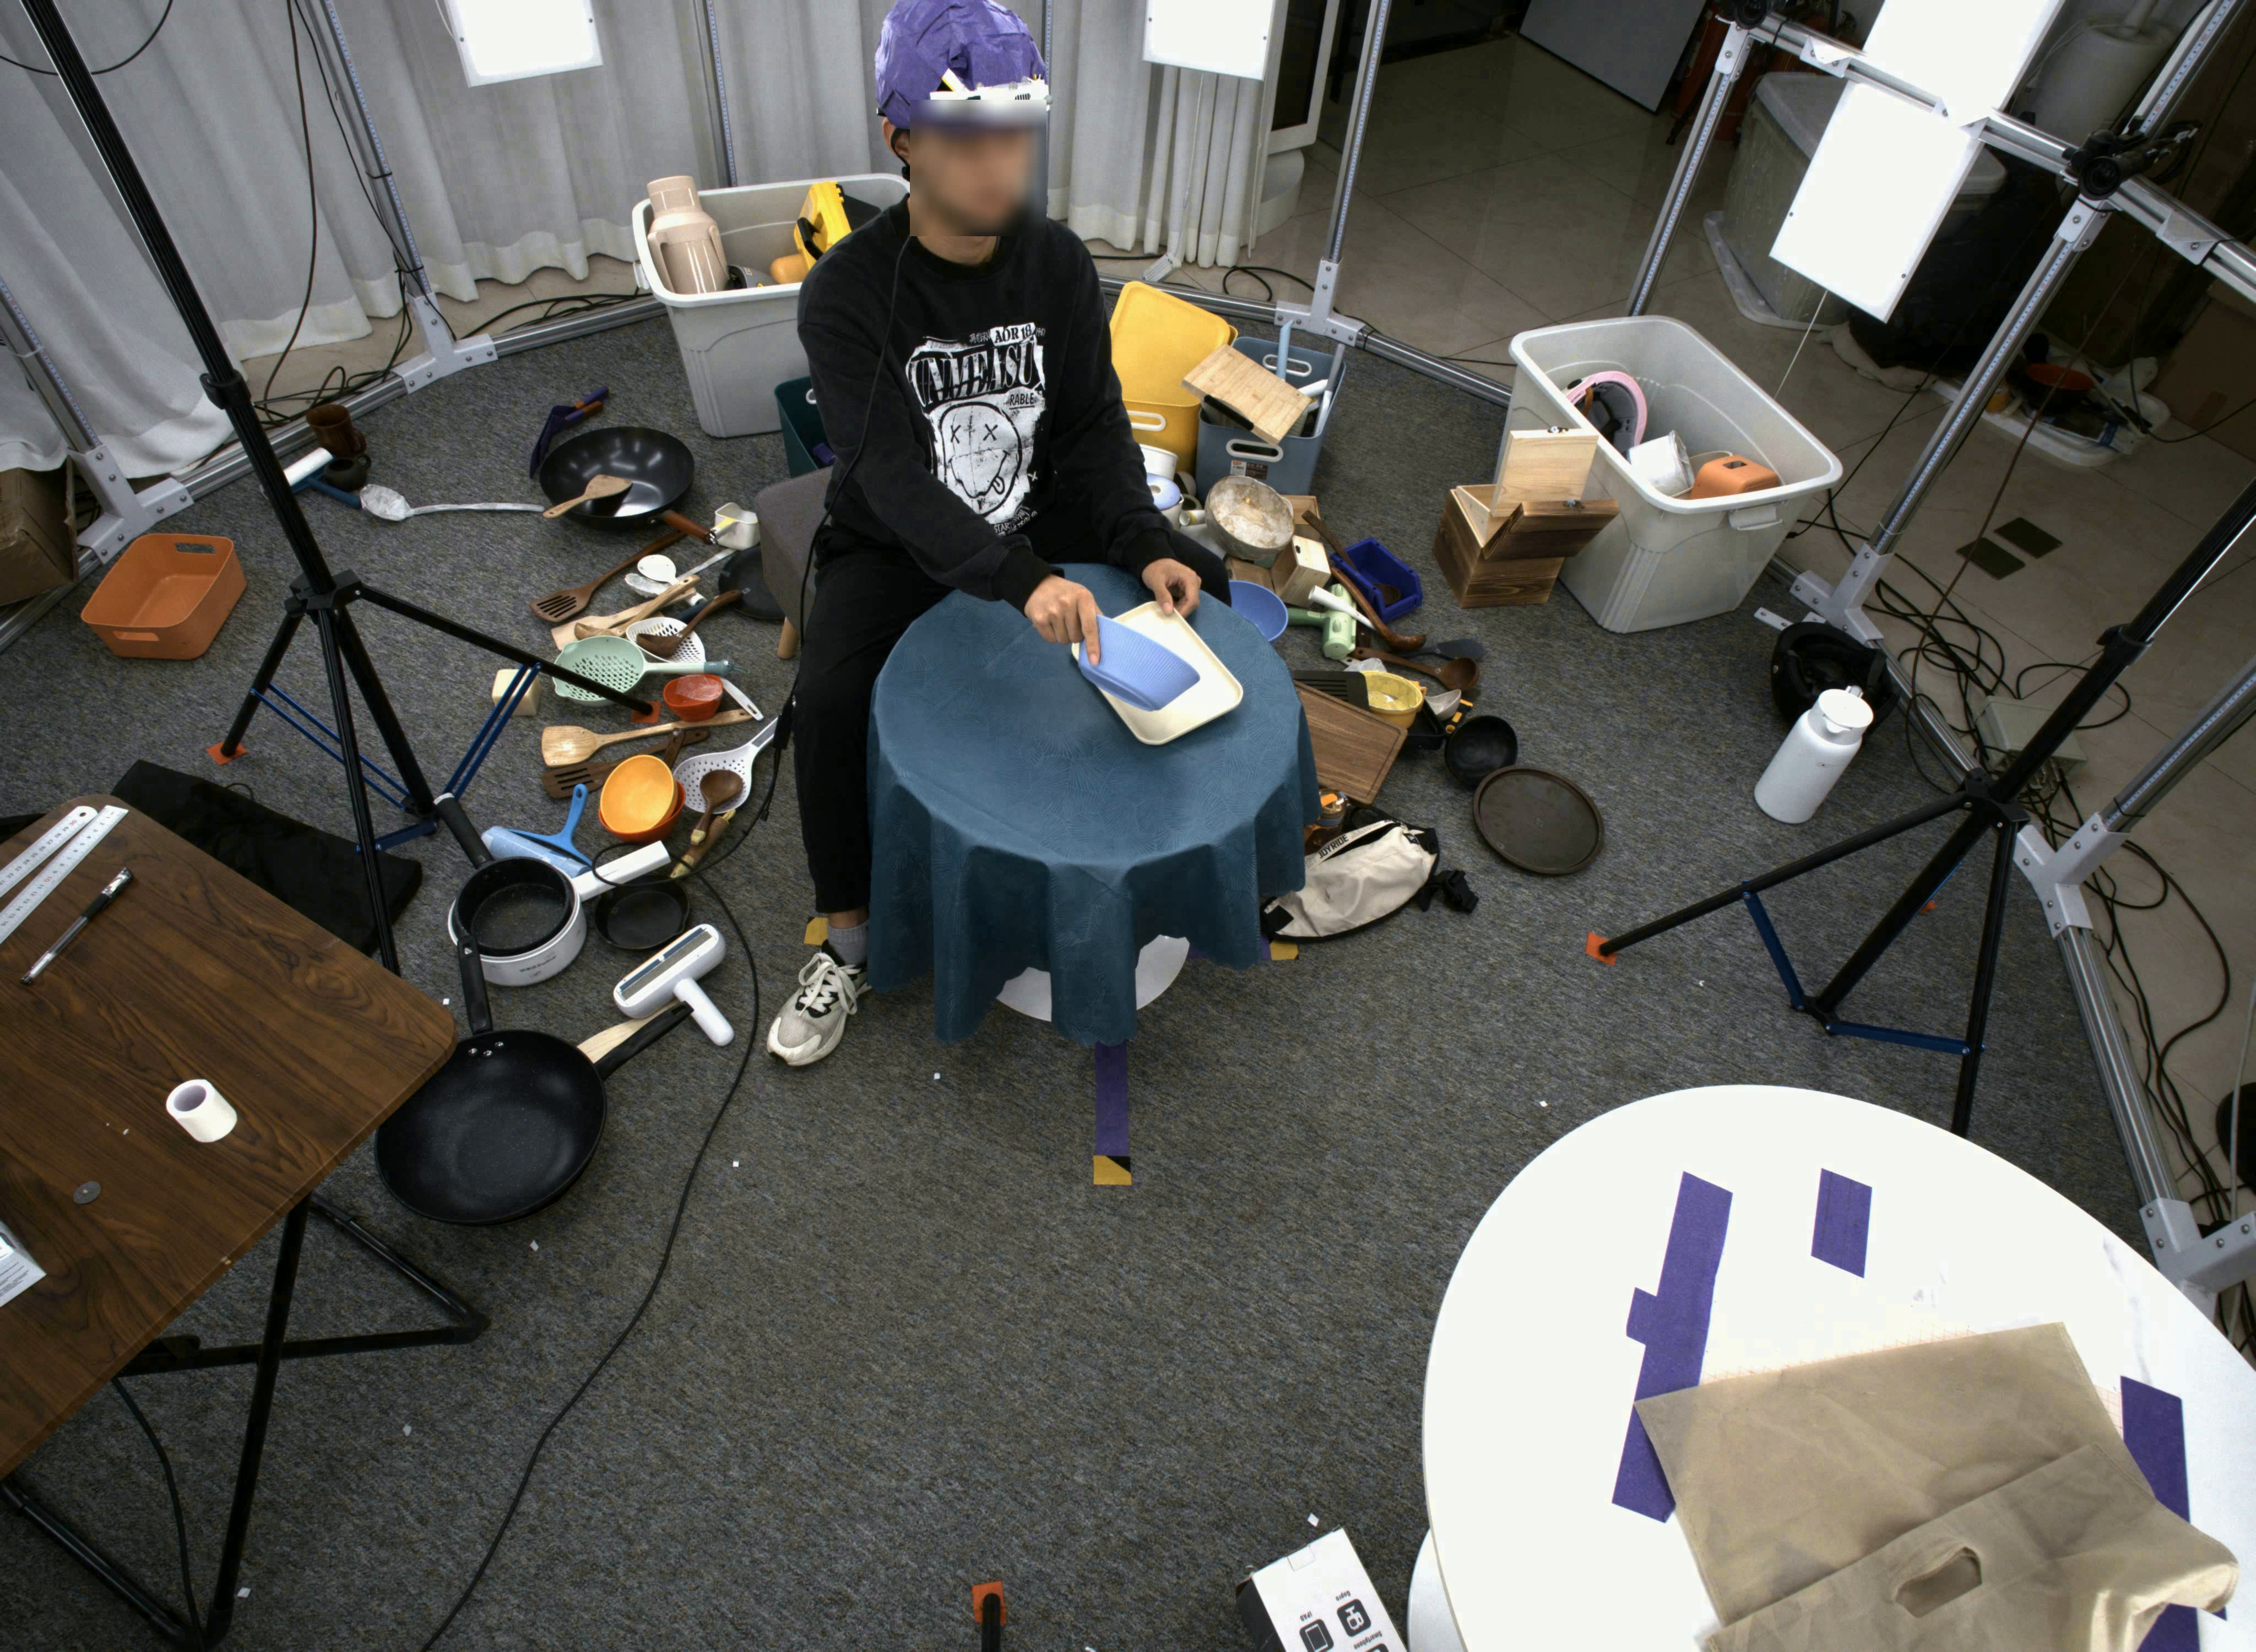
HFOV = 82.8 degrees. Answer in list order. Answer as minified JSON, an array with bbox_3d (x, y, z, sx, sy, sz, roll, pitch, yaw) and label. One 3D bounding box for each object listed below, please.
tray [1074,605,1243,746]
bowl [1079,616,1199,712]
[{"bbox_3d":[0.042,-0.219,1.853,0.172,0.017,0.245,-26,55,-14],"label":"tray"},{"bbox_3d":[0.002,-0.206,1.689,0.177,0.174,0.070,27,87,18],"label":"bowl"}]
